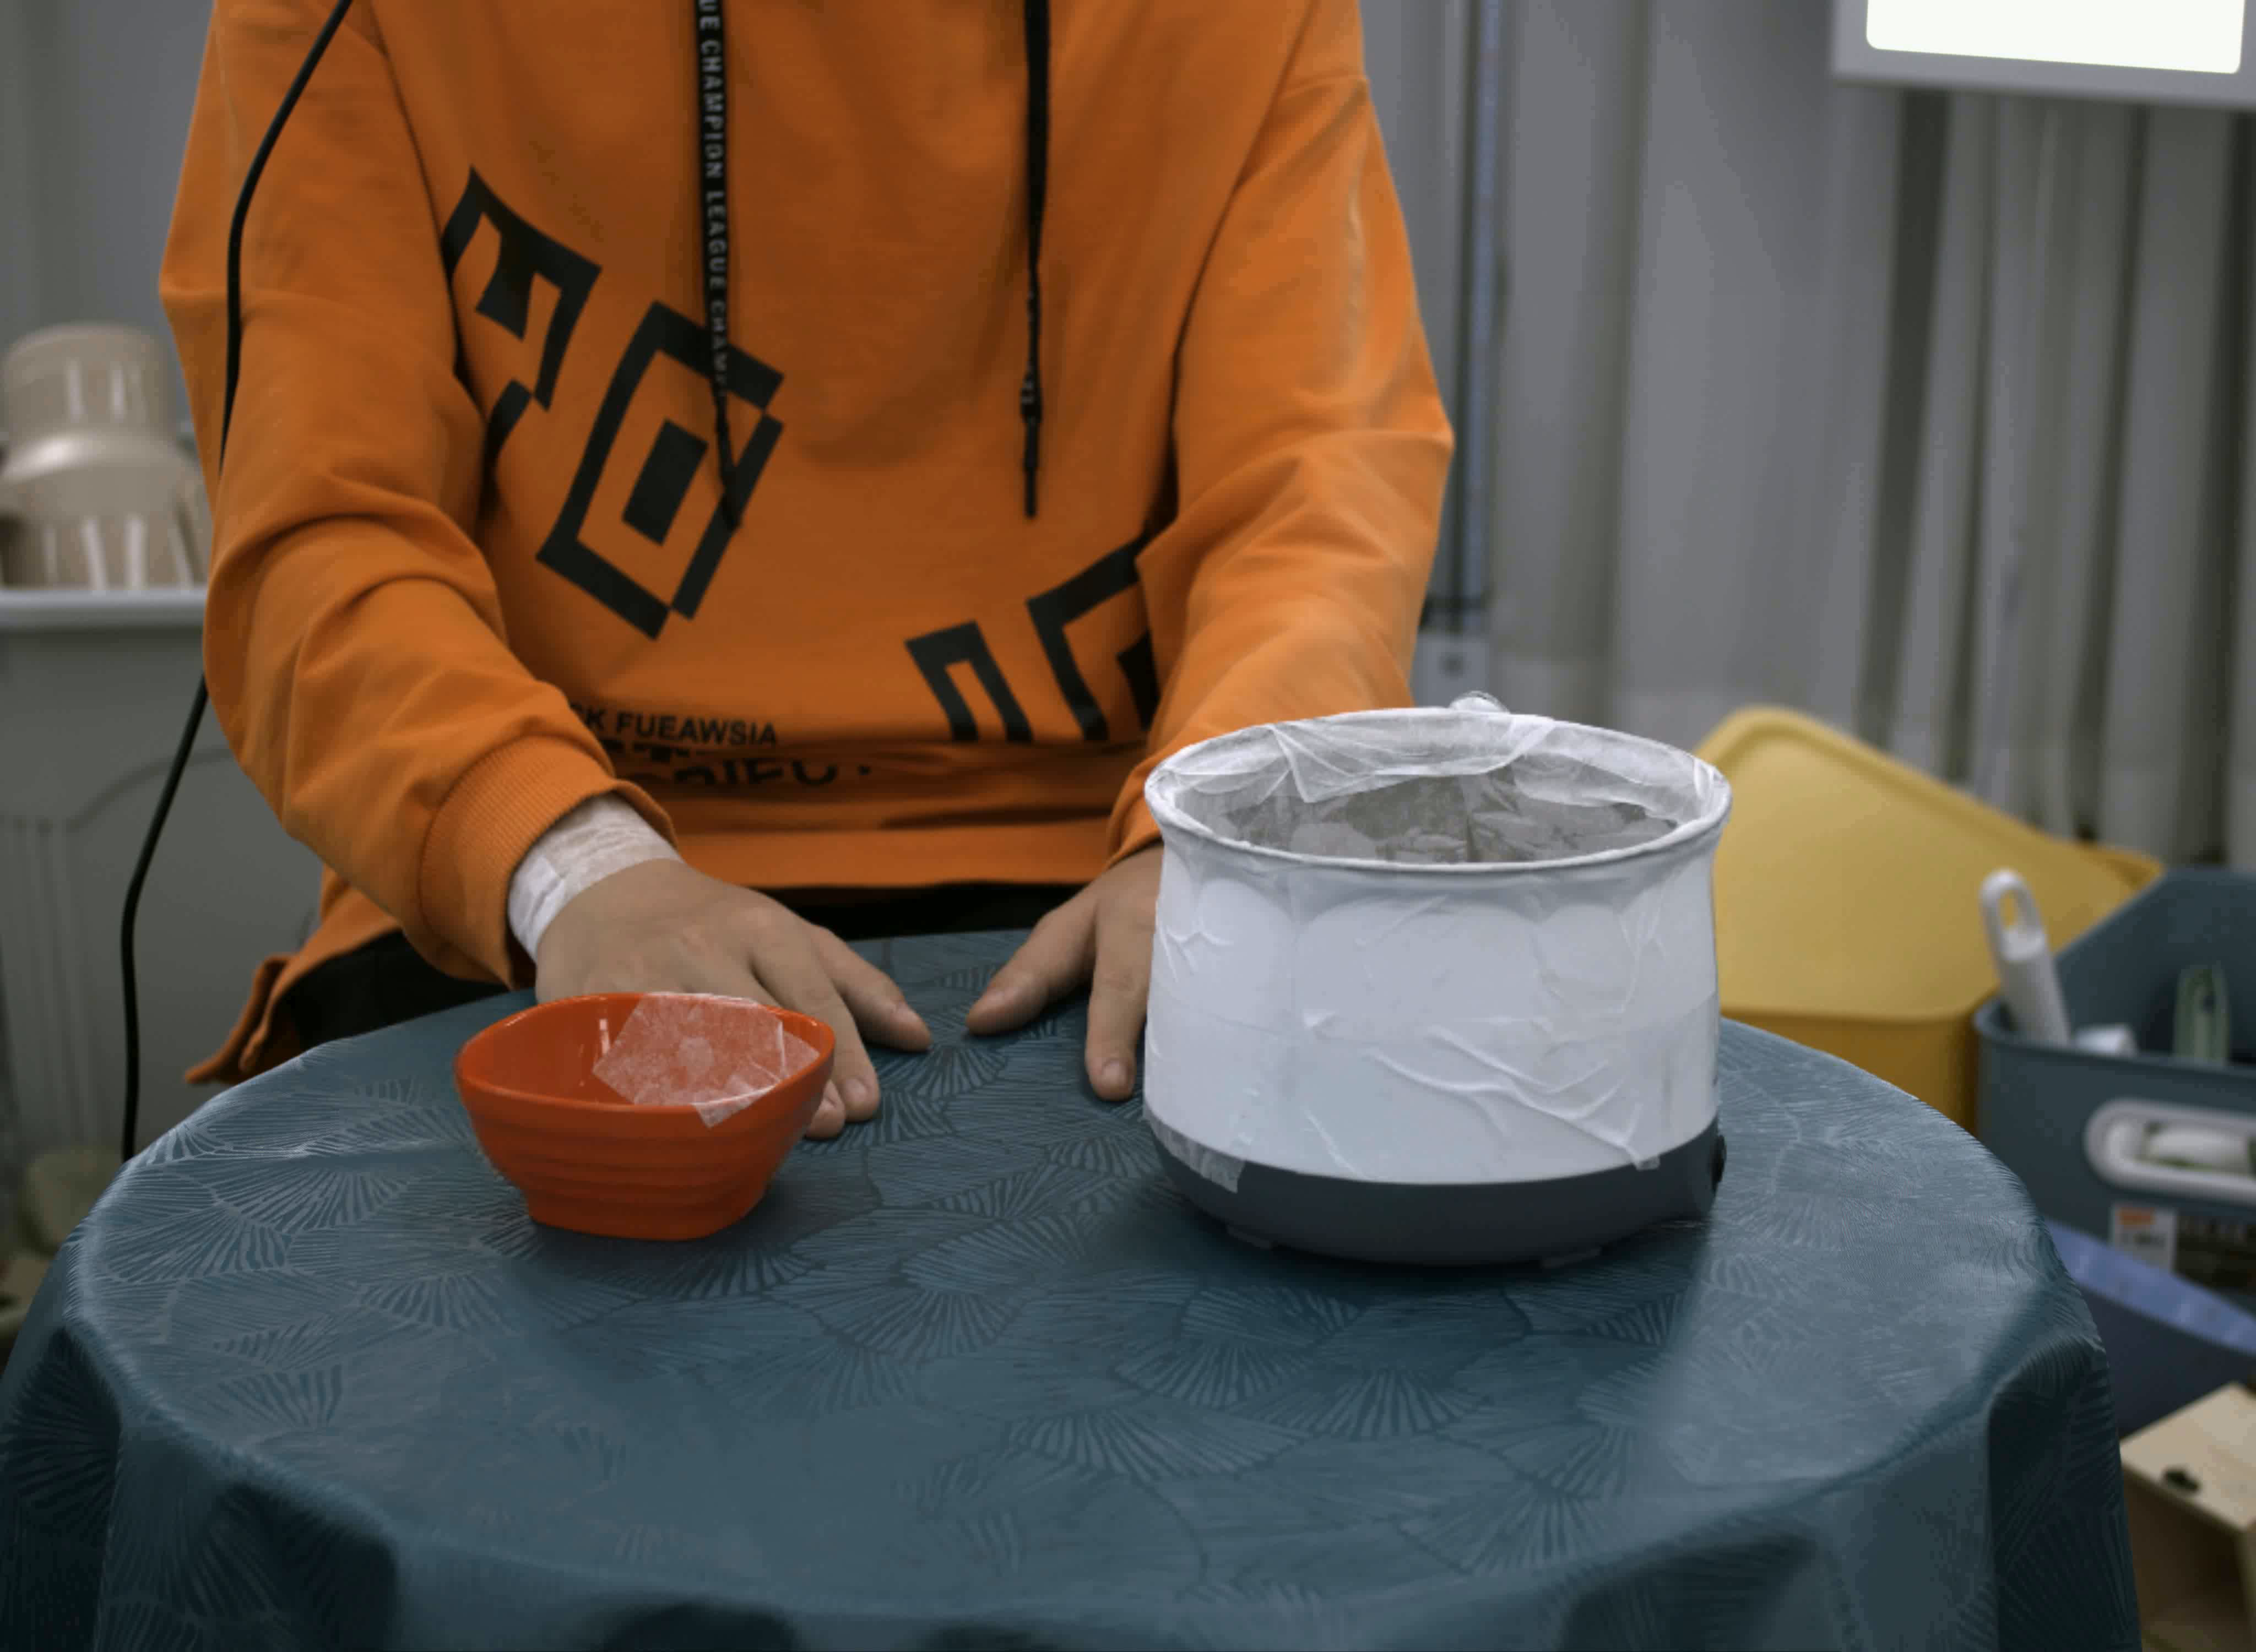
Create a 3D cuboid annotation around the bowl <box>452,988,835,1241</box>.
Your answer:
[{"bbox_3d":[-0.146,0.090,1.602,0.118,0.052,0.118,-1,16,1],"label":"bowl"}]

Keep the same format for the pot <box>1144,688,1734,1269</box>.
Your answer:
[{"bbox_3d":[0.097,0.041,1.624,0.177,0.138,0.233,3,16,8],"label":"pot"}]
